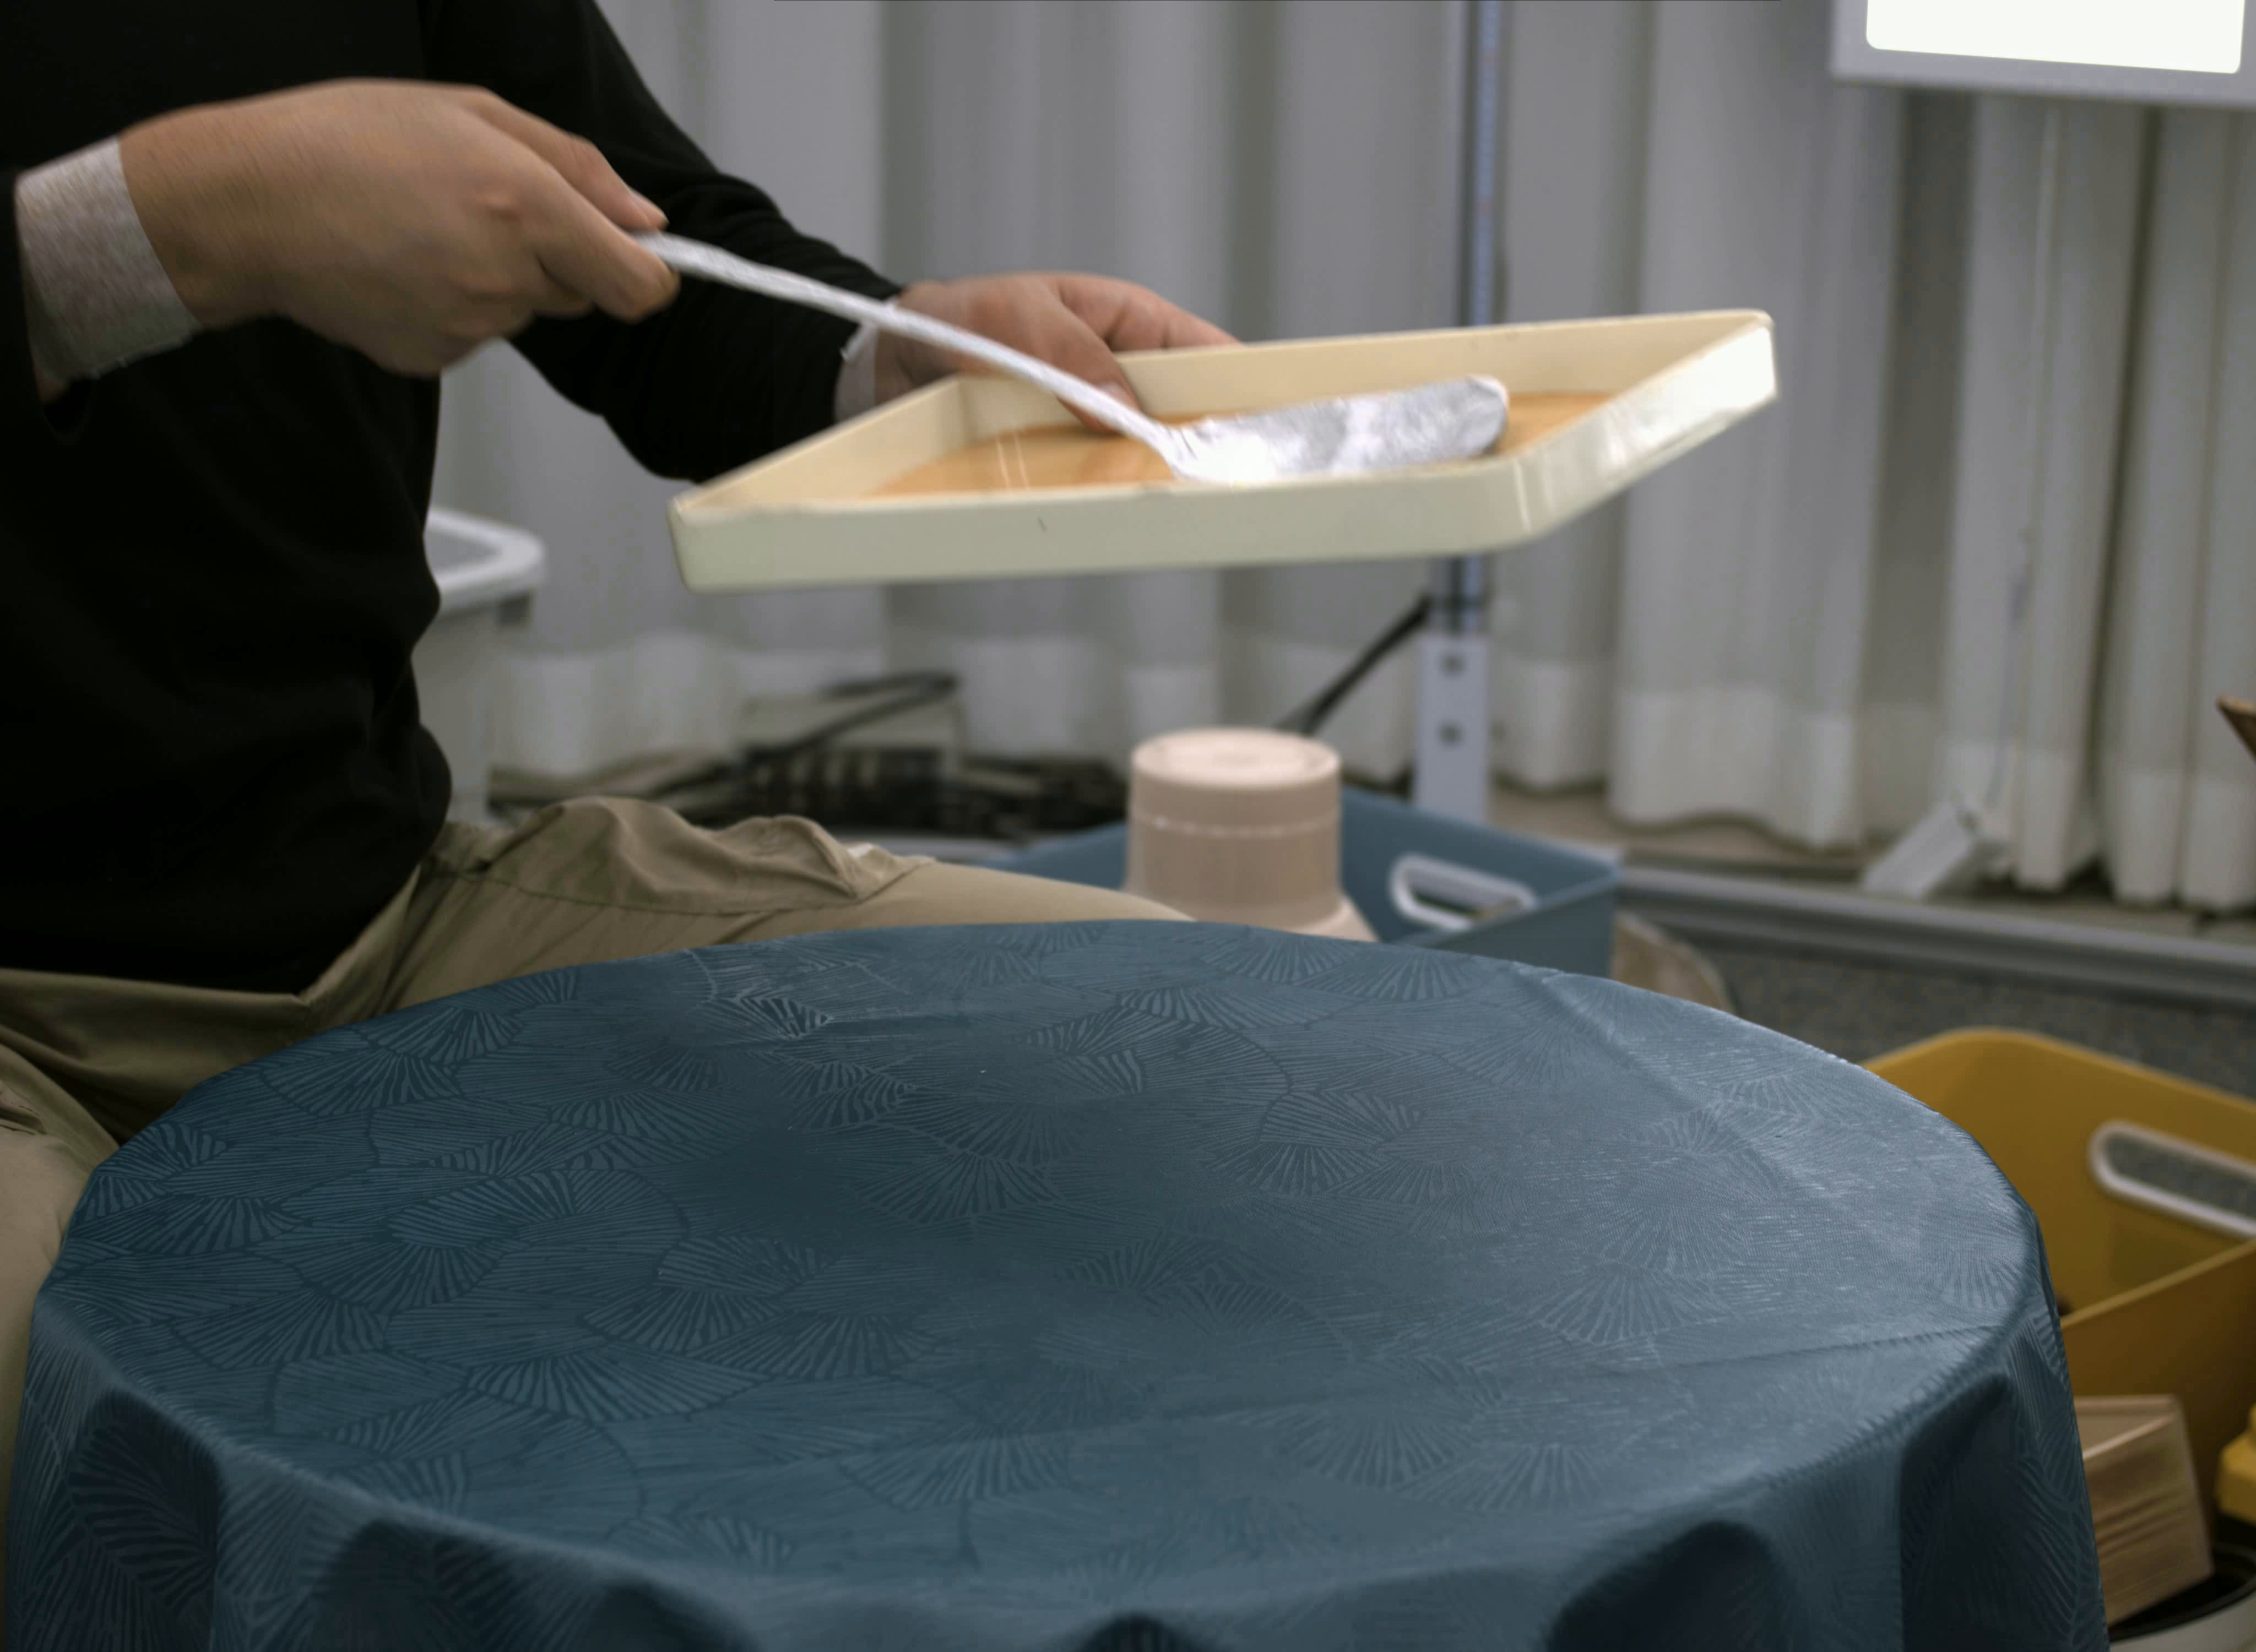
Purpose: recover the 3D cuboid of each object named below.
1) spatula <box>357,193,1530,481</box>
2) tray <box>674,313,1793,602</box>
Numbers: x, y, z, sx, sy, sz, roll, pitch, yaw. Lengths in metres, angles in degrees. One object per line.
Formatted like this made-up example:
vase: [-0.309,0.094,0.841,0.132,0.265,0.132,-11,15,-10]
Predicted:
spatula: [-0.061,-0.151,1.569,0.363,0.045,0.098,17,23,6]
tray: [0.031,-0.110,1.581,0.297,0.027,0.192,-1,17,33]
